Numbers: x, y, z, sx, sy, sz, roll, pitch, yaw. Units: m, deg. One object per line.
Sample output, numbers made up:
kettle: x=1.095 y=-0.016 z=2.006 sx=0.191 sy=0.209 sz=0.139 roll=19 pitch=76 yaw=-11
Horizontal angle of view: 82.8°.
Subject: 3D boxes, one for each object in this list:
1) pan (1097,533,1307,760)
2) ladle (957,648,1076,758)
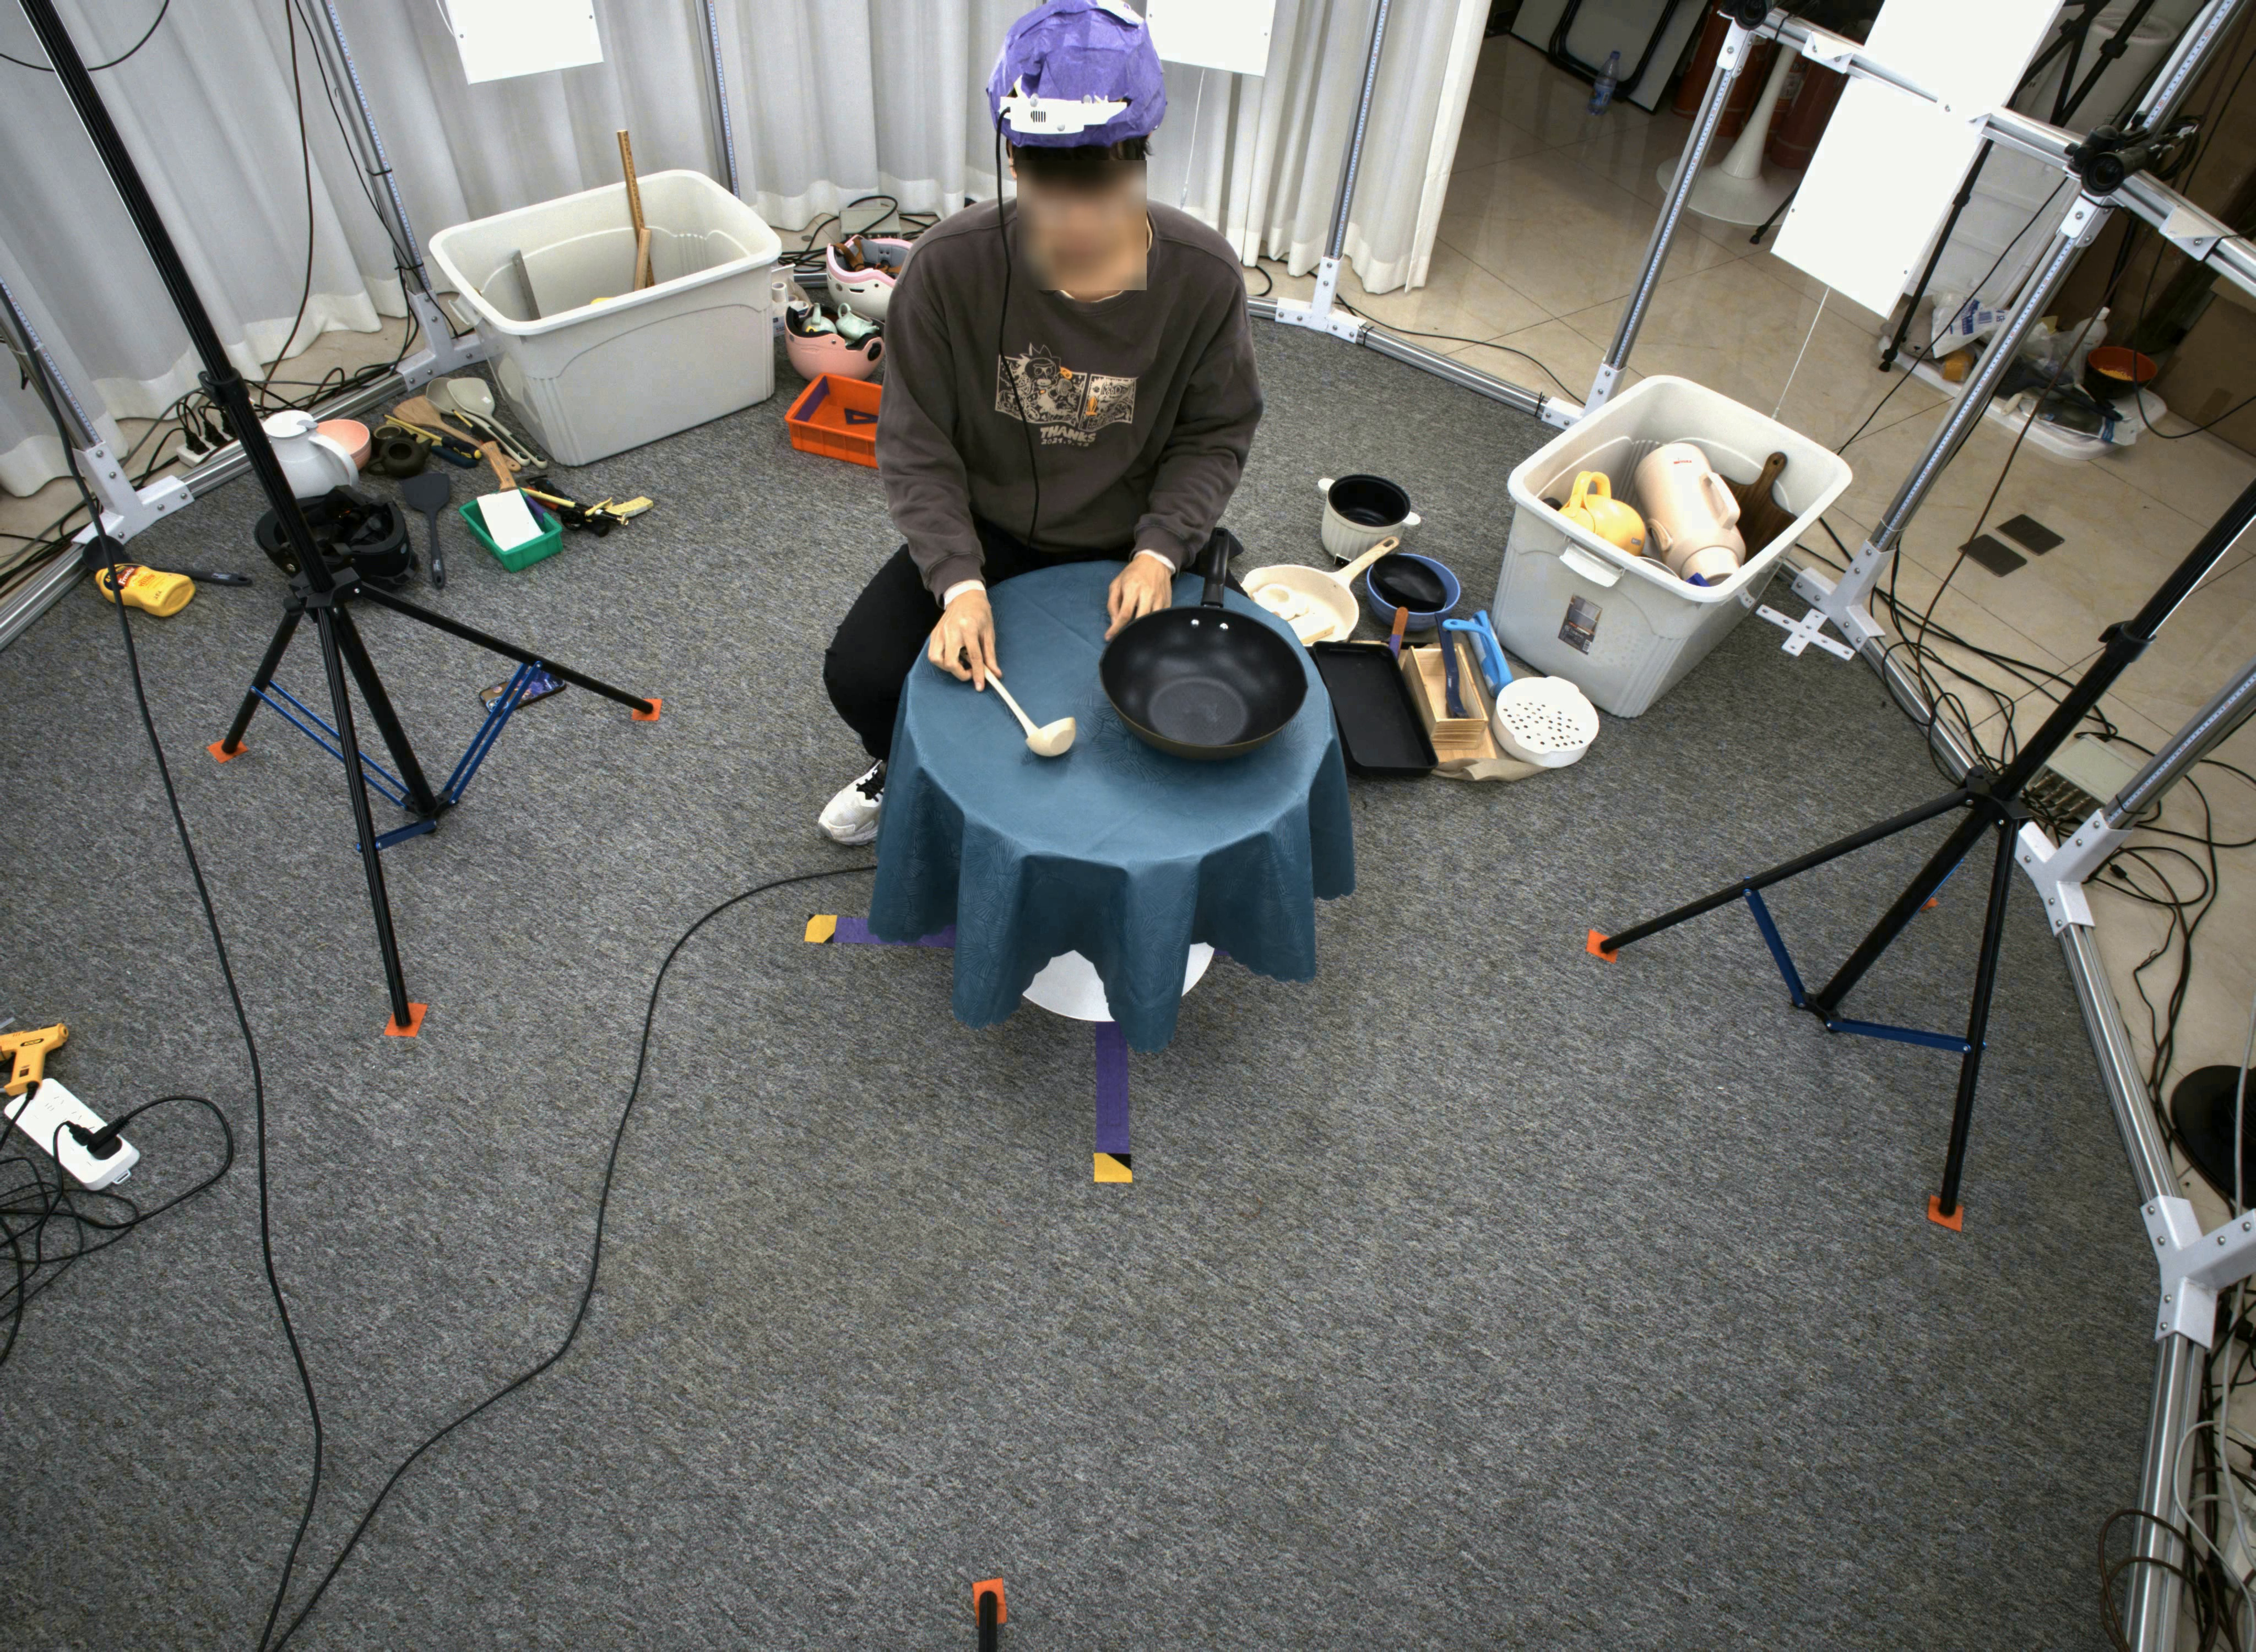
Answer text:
pan: x=0.111 y=-0.253 z=1.839 sx=0.288 sy=0.085 sz=0.474 roll=7 pitch=48 yaw=3
ladle: x=-0.162 y=-0.192 z=1.771 sx=0.072 sy=0.071 sz=0.259 roll=-23 pitch=57 yaw=-29
